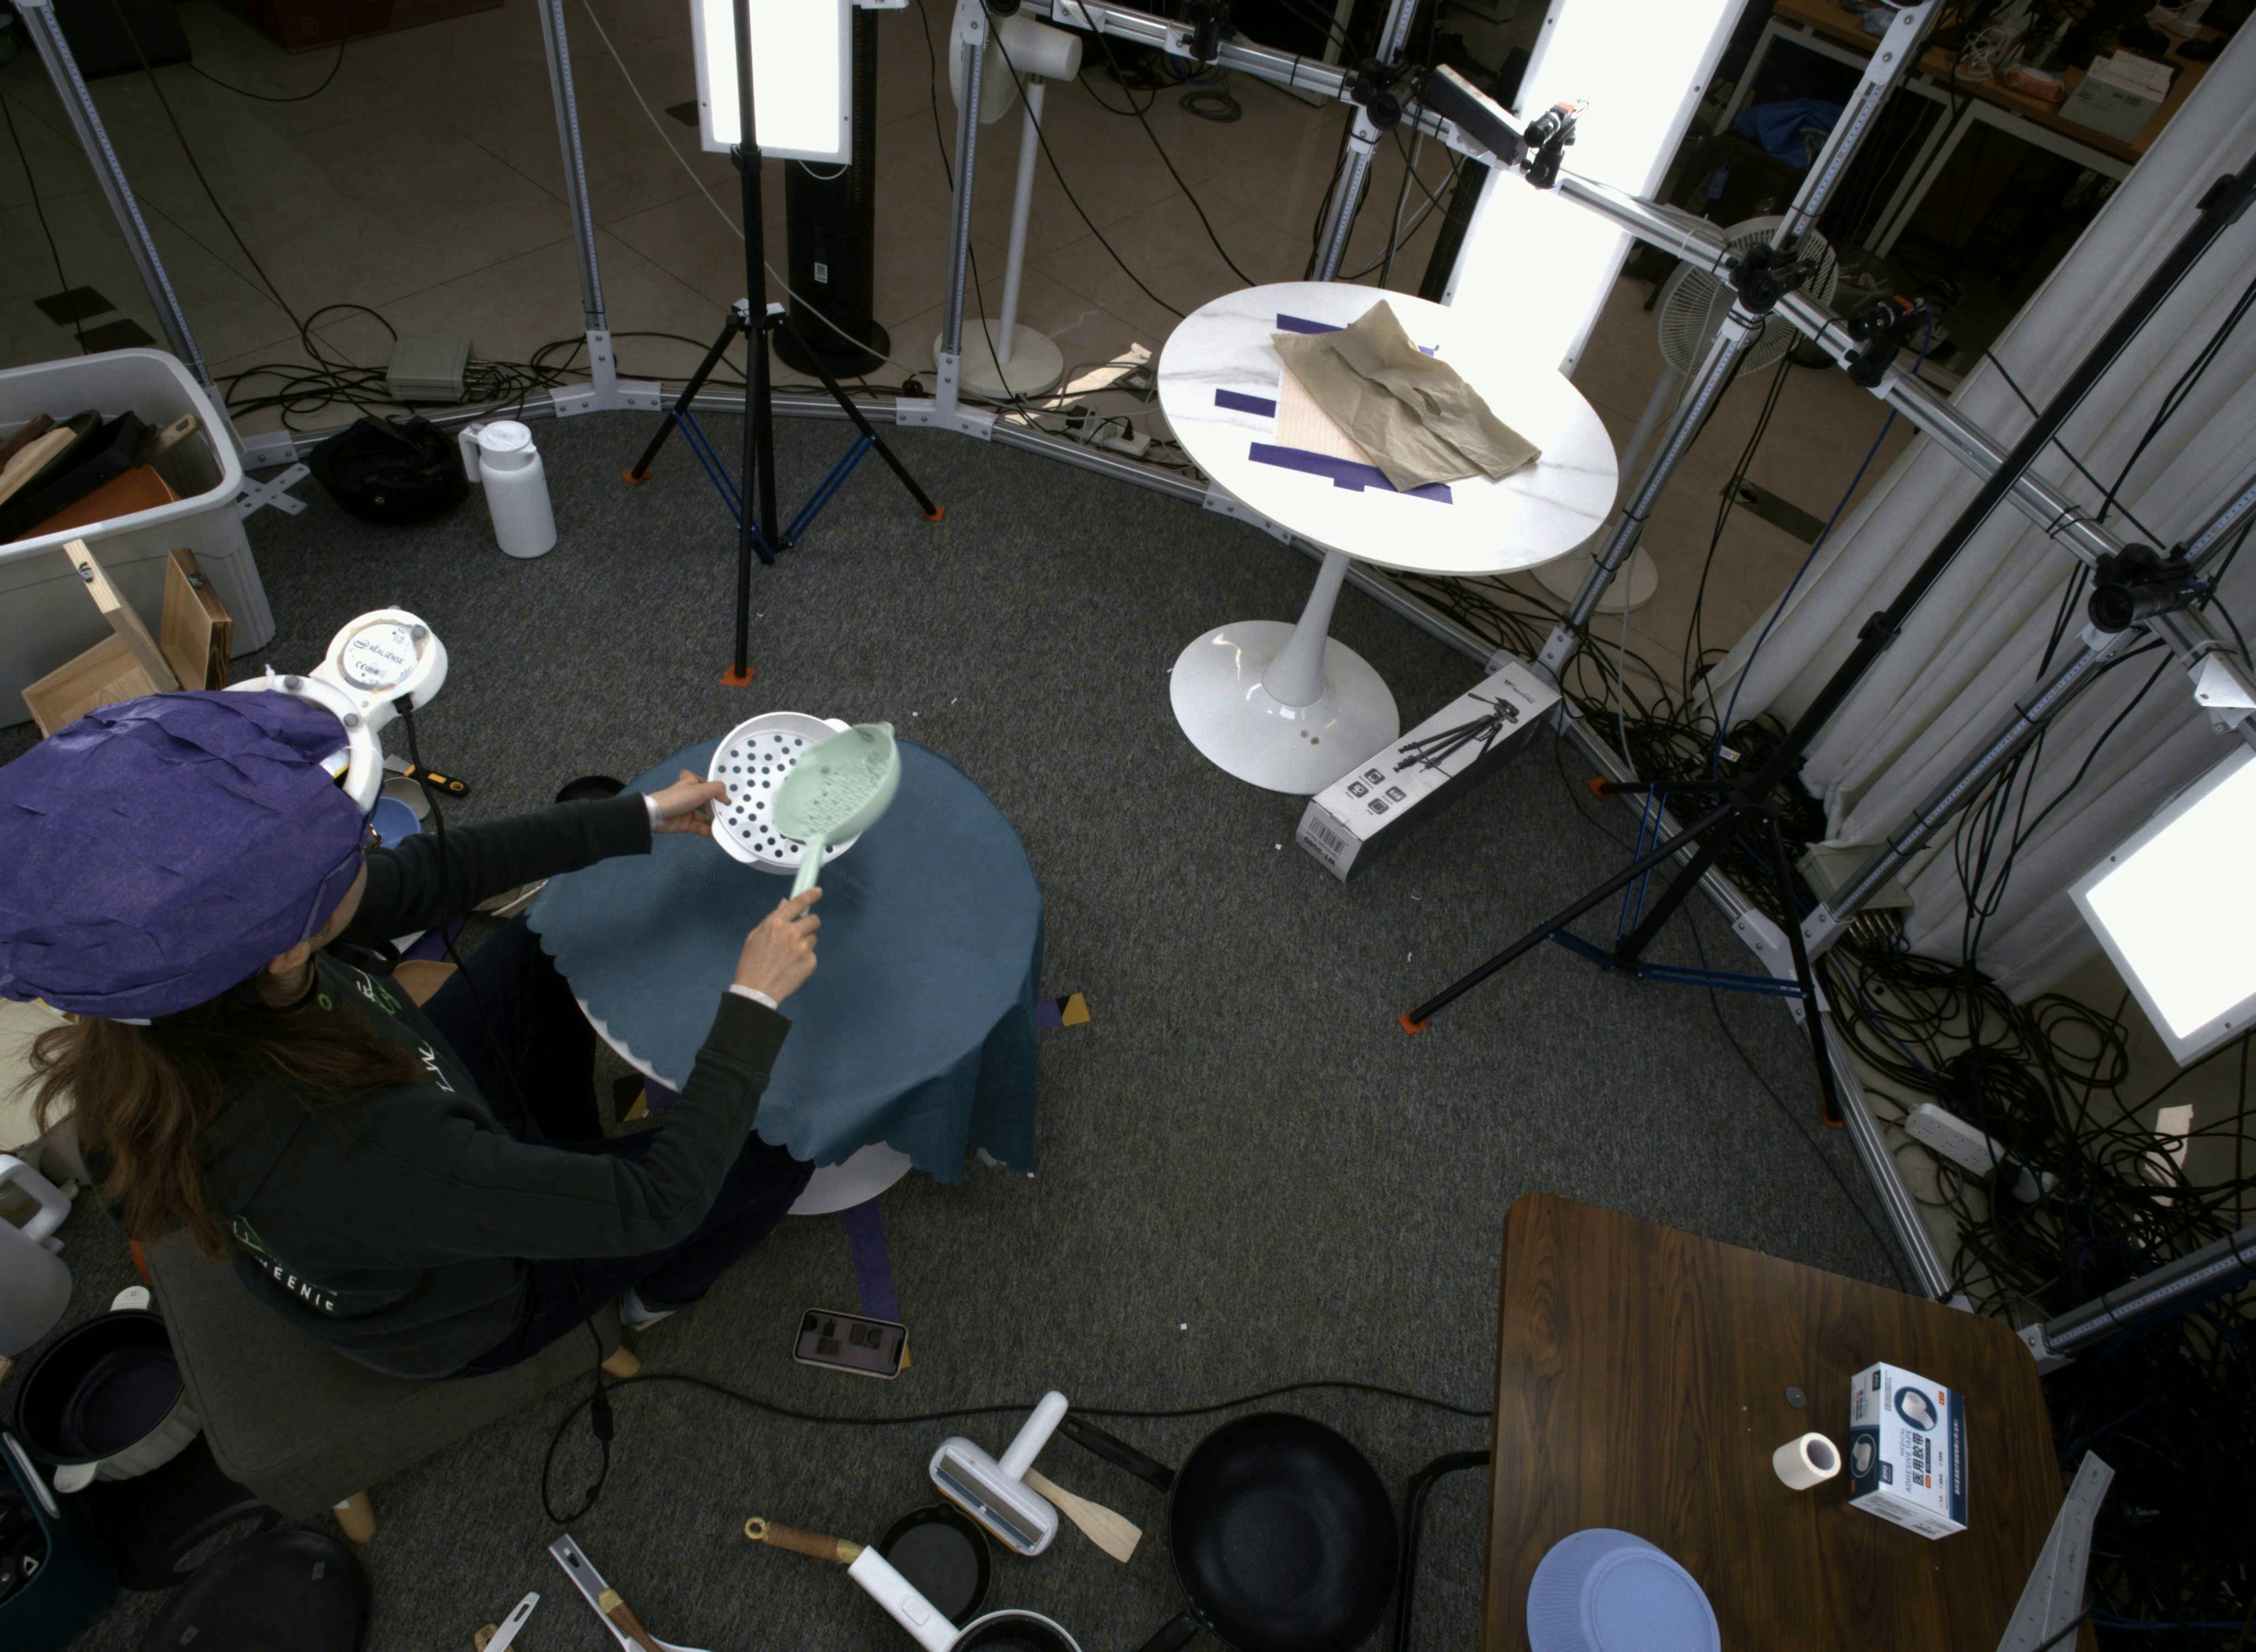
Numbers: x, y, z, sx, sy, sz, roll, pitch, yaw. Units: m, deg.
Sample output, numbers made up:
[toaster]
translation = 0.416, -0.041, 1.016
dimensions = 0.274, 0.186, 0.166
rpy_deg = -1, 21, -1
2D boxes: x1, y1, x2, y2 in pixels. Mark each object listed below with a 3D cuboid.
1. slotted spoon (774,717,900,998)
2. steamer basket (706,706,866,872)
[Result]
[slotted spoon]
translation = -0.339, 0.026, 1.427
dimensions = 0.166, 0.078, 0.353
rpy_deg = -17, 38, 25
[steamer basket]
translation = -0.426, -0.044, 1.620
dimensions = 0.204, 0.068, 0.230
rpy_deg = 45, 60, -10
